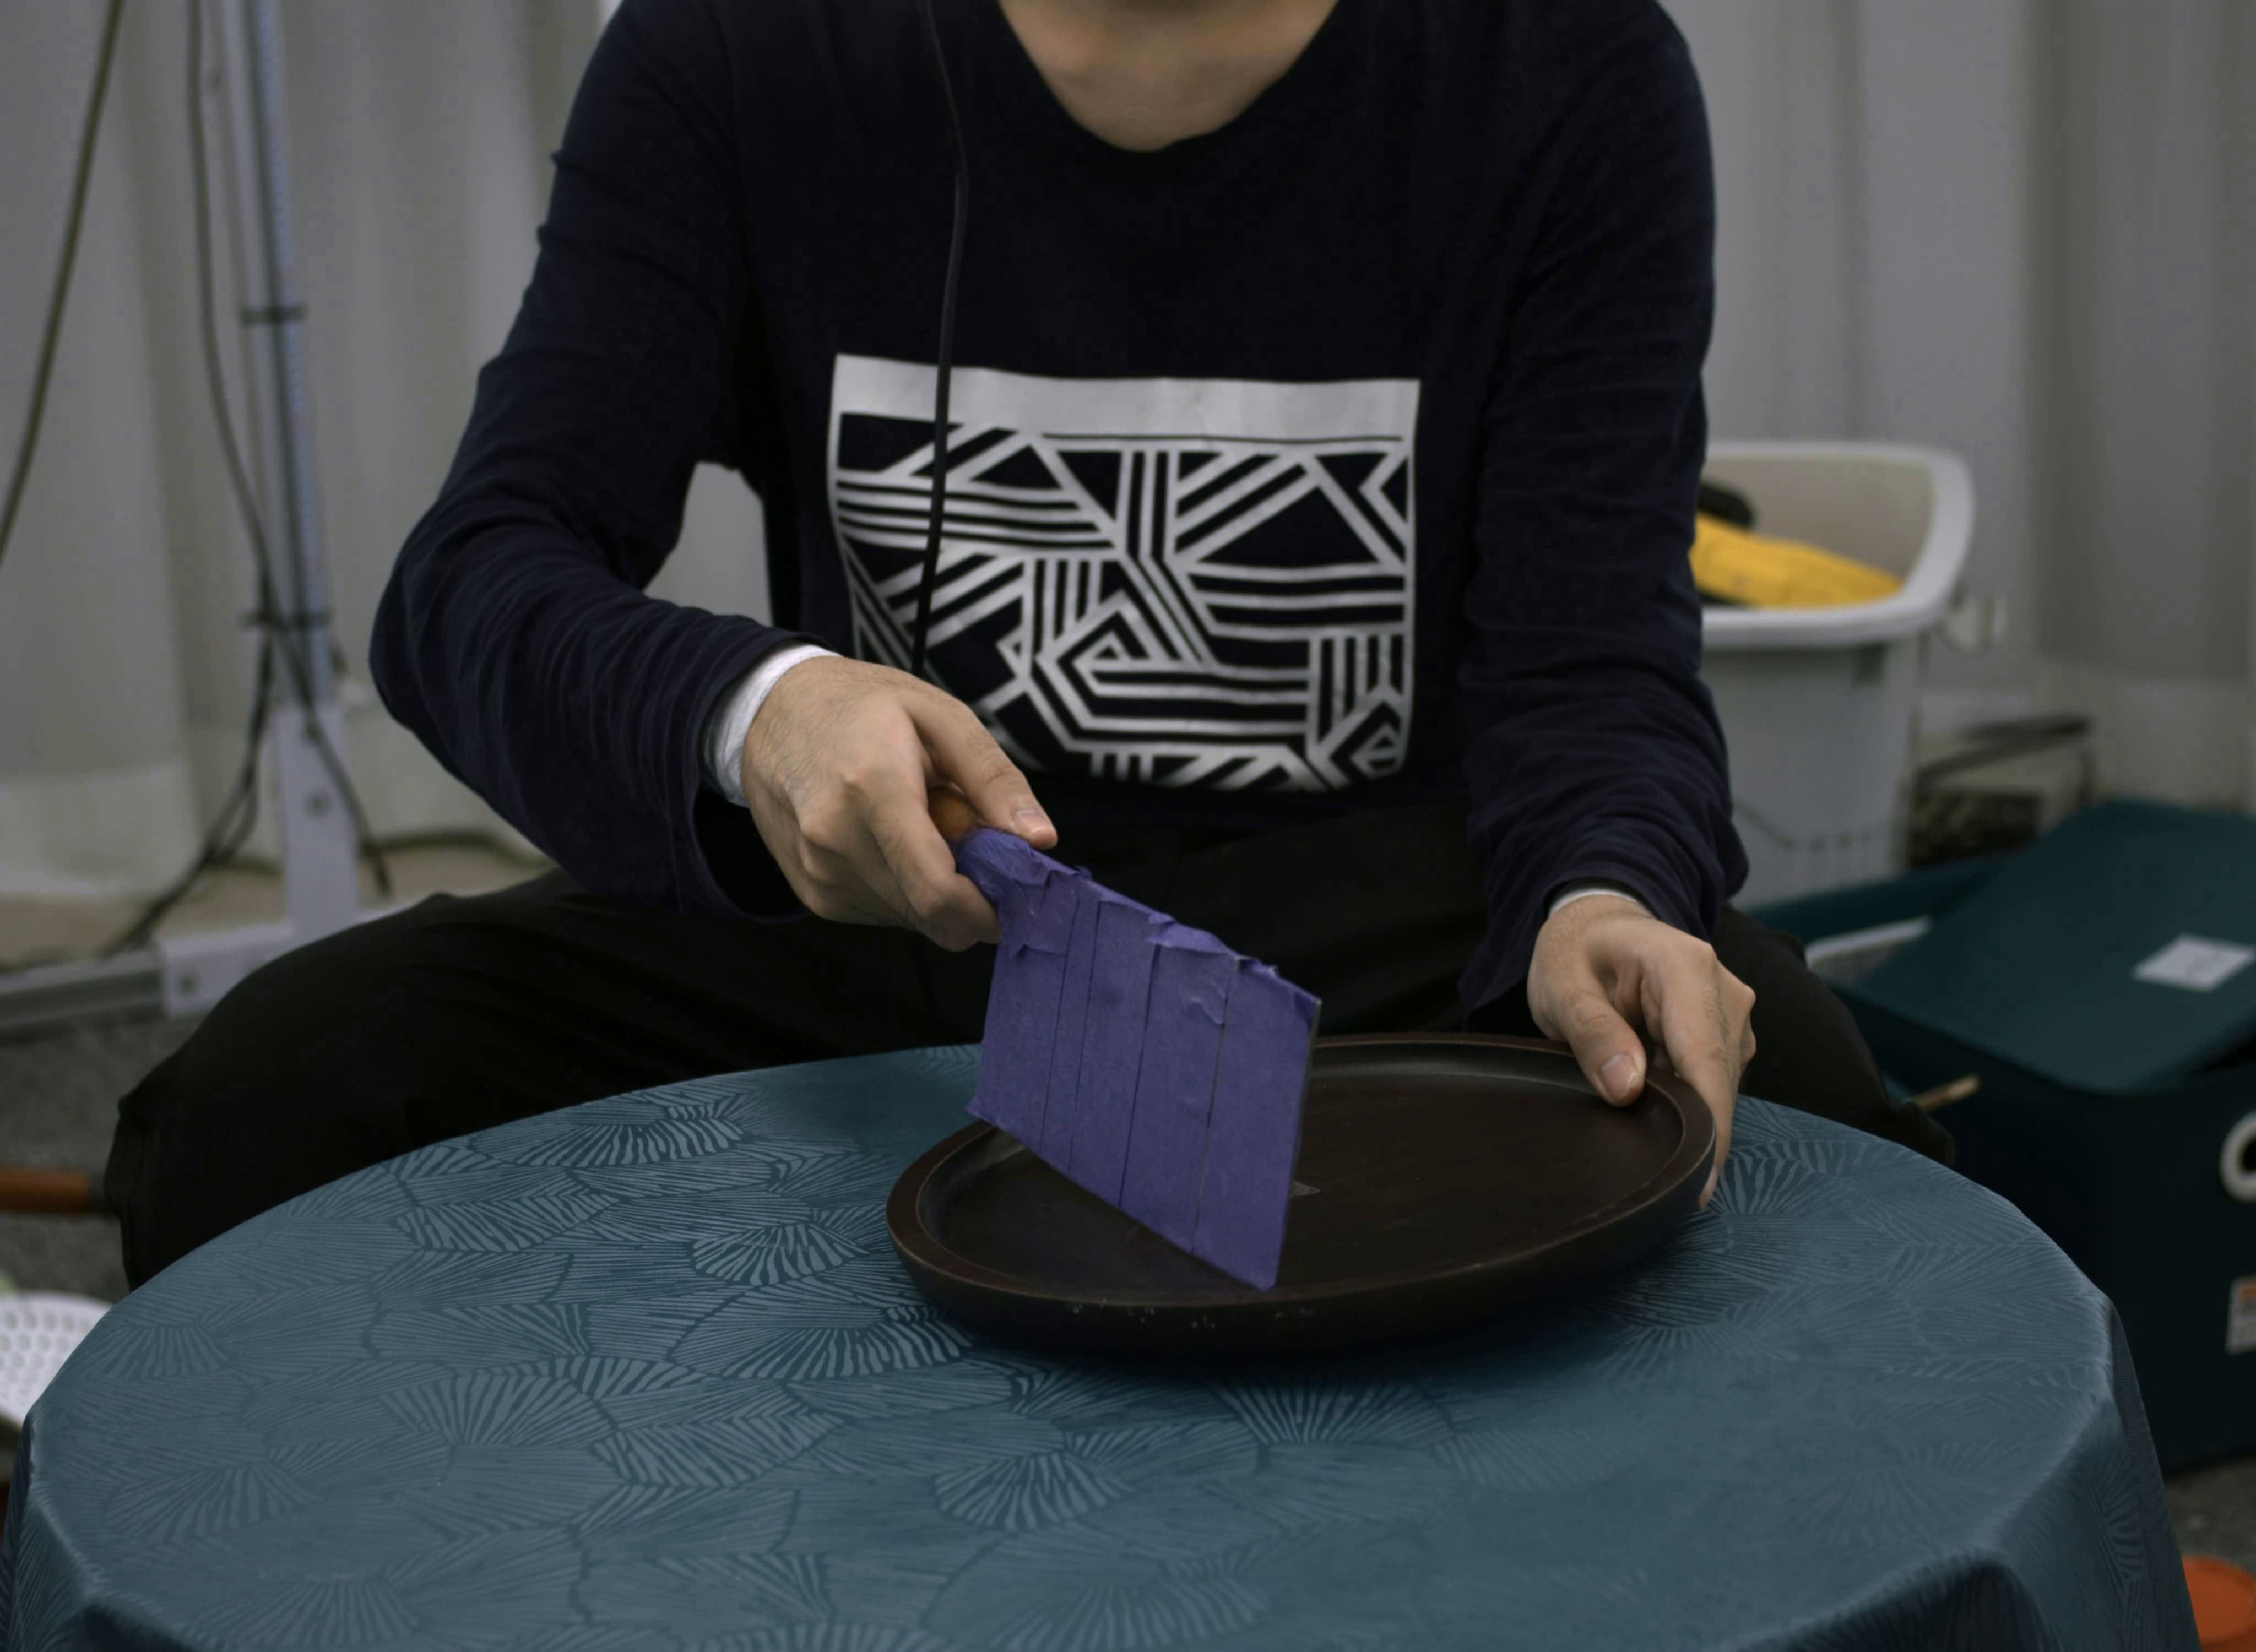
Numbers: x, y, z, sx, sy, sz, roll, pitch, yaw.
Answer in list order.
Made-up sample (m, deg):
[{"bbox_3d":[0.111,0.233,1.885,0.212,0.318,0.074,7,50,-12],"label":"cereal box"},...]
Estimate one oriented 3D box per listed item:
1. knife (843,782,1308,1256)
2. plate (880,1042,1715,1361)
[{"bbox_3d":[-0.024,0.057,1.681,0.032,0.104,0.317,6,8,-25],"label":"knife"},{"bbox_3d":[0.051,0.110,1.650,0.254,0.029,0.256,-7,15,1],"label":"plate"}]
